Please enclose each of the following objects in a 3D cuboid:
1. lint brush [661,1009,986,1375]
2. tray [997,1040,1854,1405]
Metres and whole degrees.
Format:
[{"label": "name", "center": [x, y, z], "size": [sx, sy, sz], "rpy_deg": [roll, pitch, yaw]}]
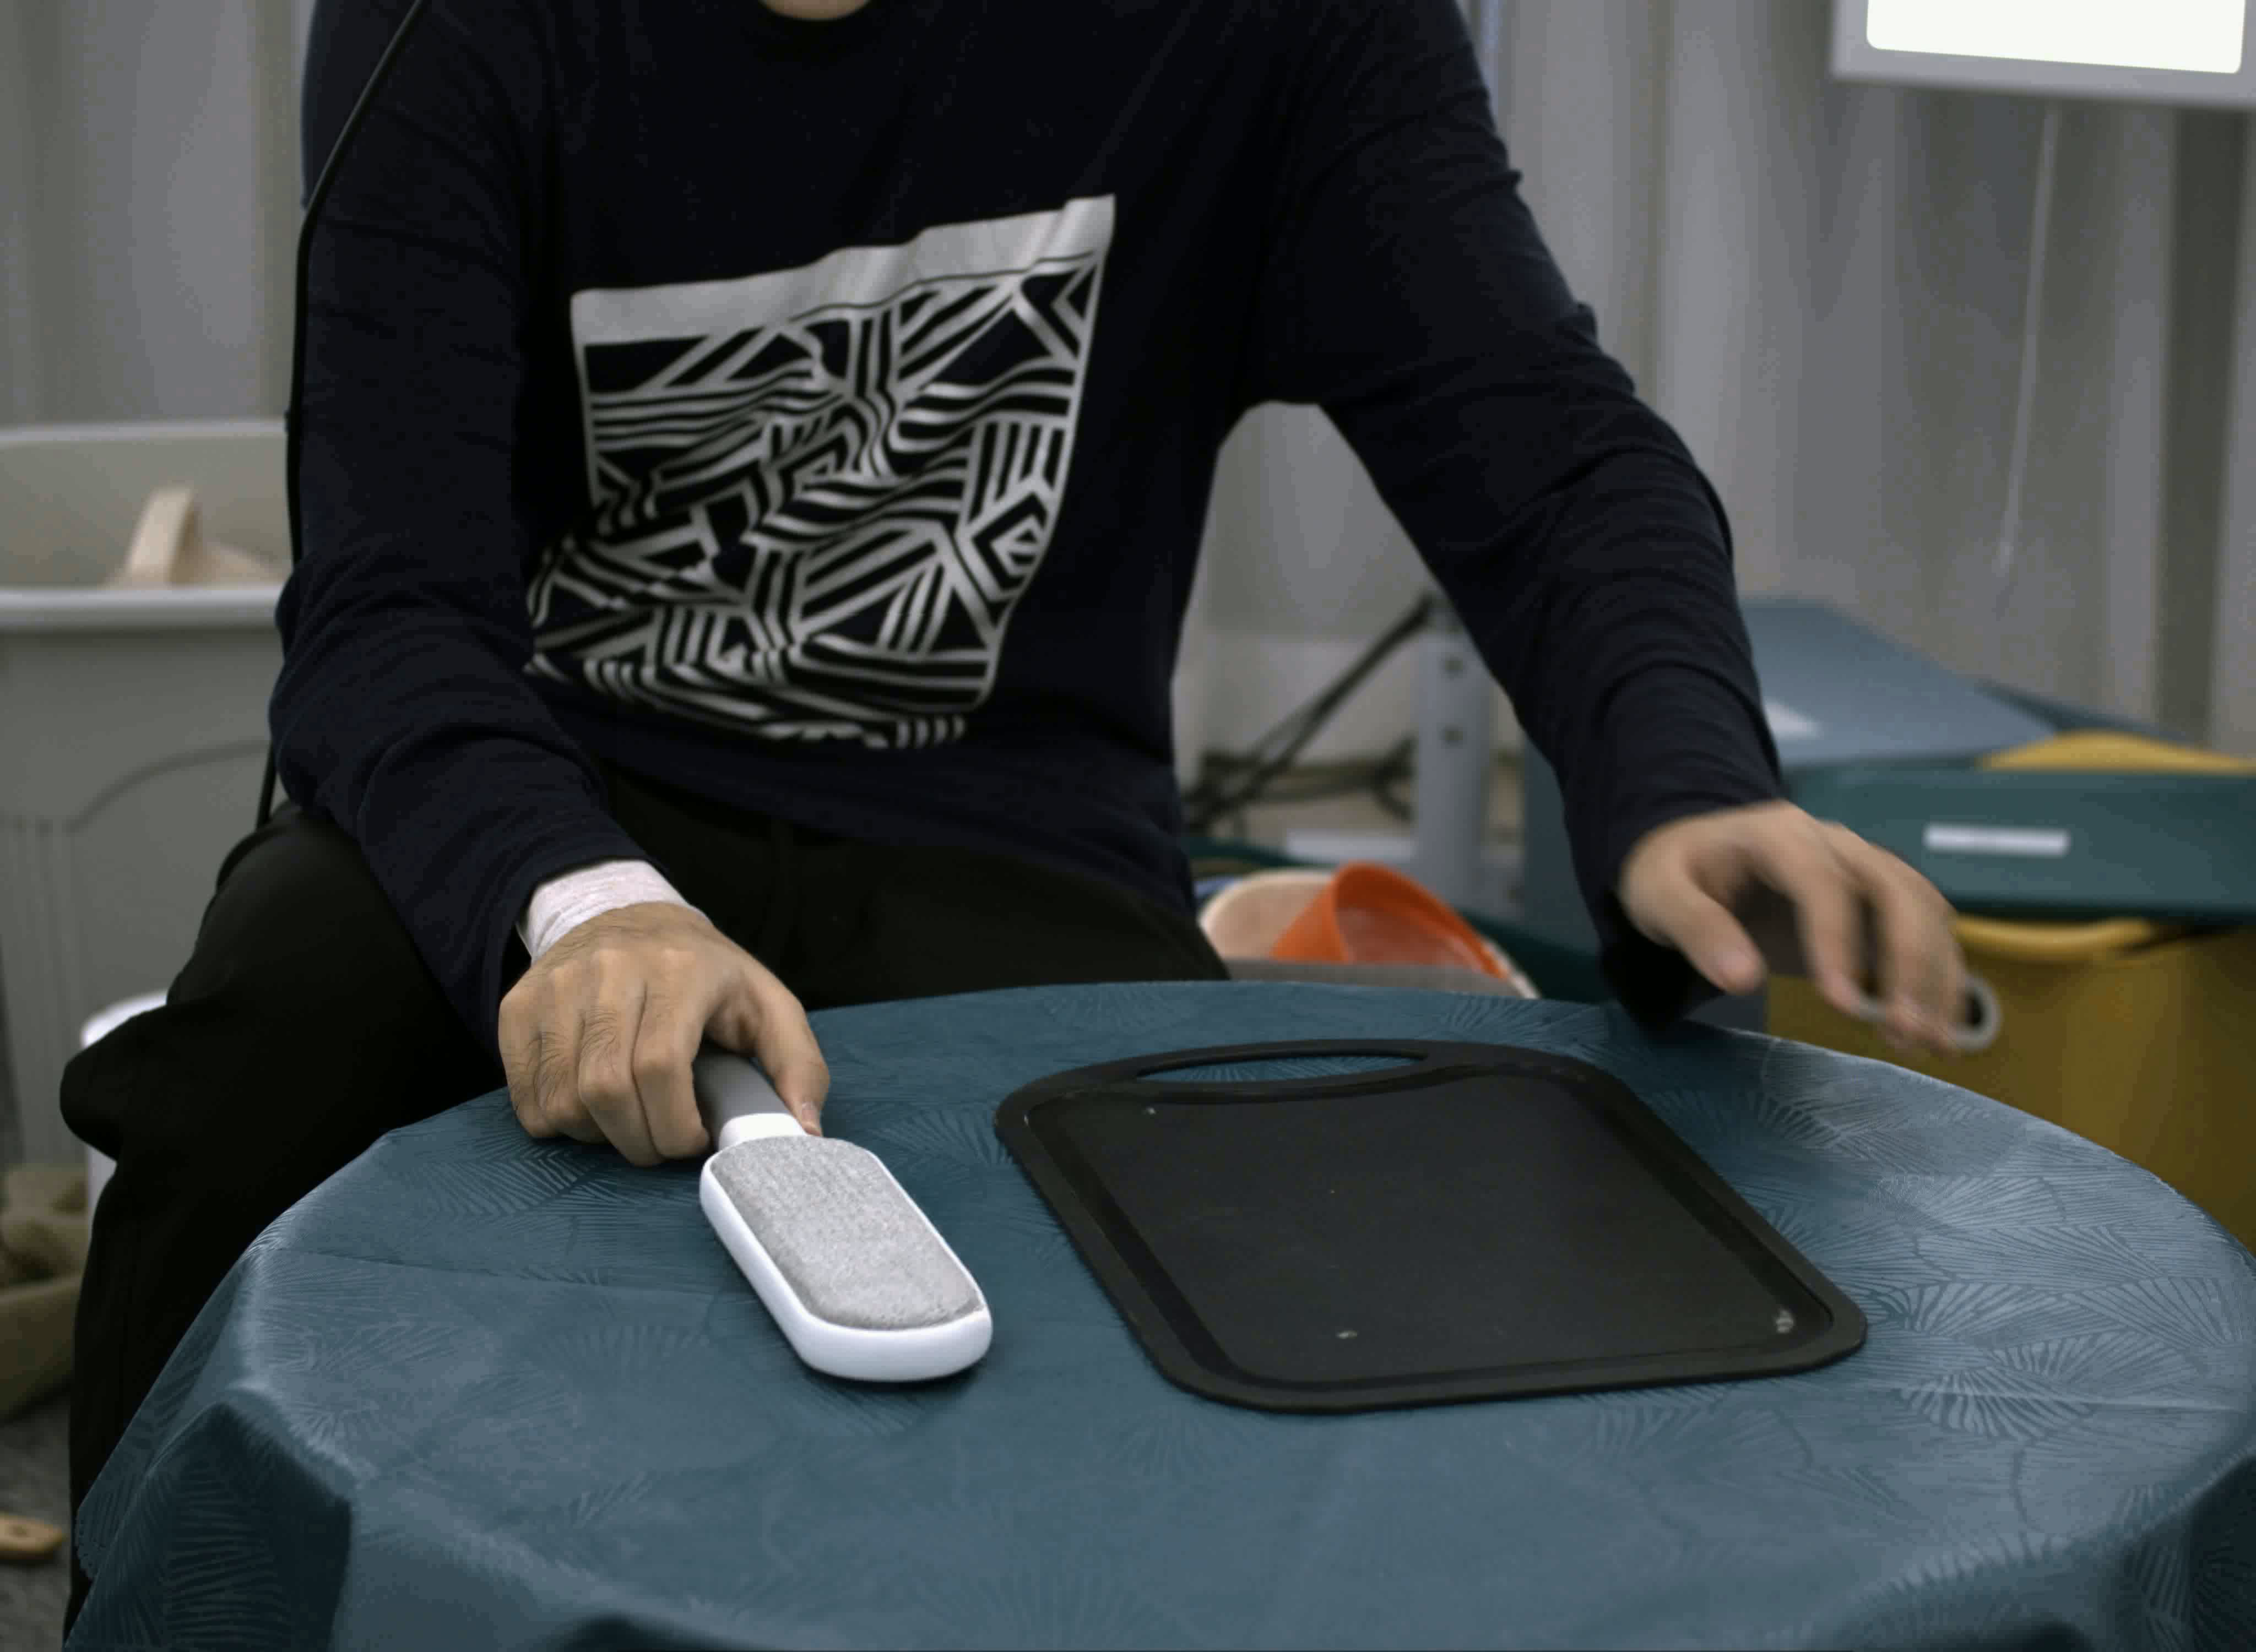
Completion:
[{"label": "lint brush", "center": [-0.100, 0.106, 1.593], "size": [0.060, 0.021, 0.306], "rpy_deg": [-9, 17, -14]}, {"label": "tray", "center": [0.080, 0.114, 1.612], "size": [0.211, 0.010, 0.322], "rpy_deg": [-3, 15, -13]}]
